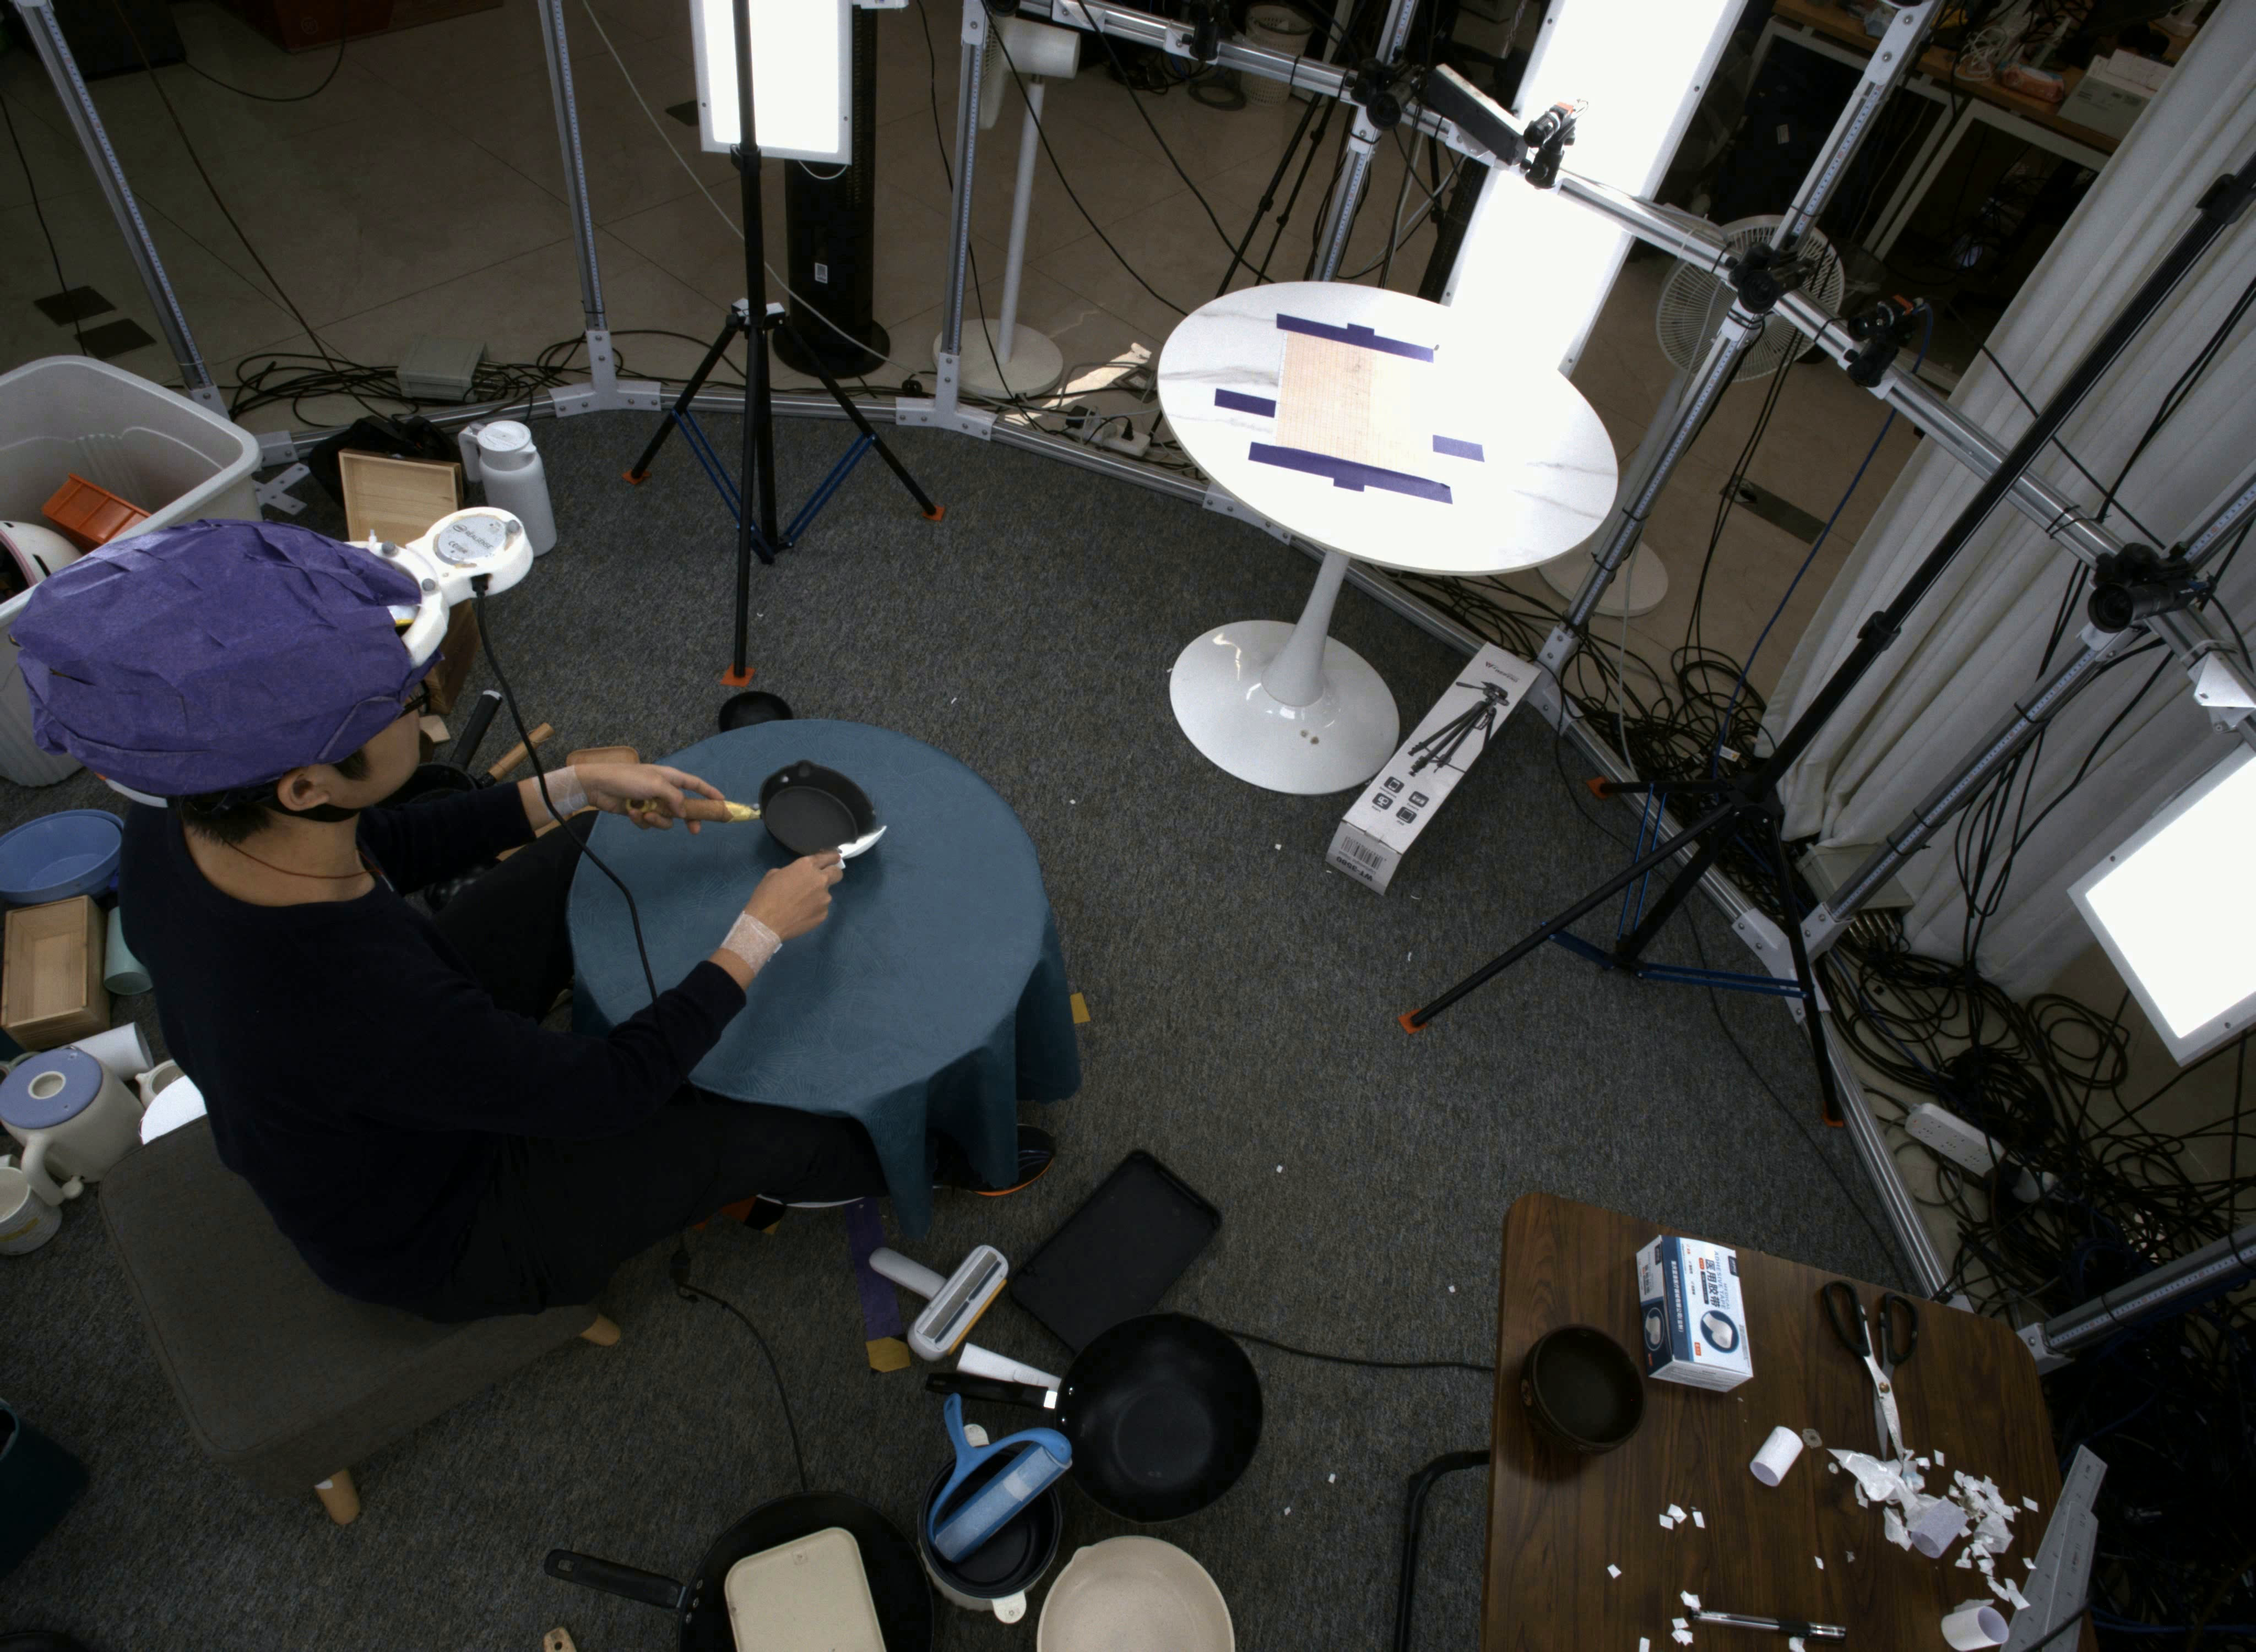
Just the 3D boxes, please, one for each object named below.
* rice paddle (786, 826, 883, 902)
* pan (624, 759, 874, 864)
[{"bbox_3d":[-0.362,0.037,1.605,0.030,0.067,0.204,66,22,-14],"label":"rice paddle"},{"bbox_3d":[-0.475,-0.019,1.627,0.330,0.050,0.165,3,52,-37],"label":"pan"}]
